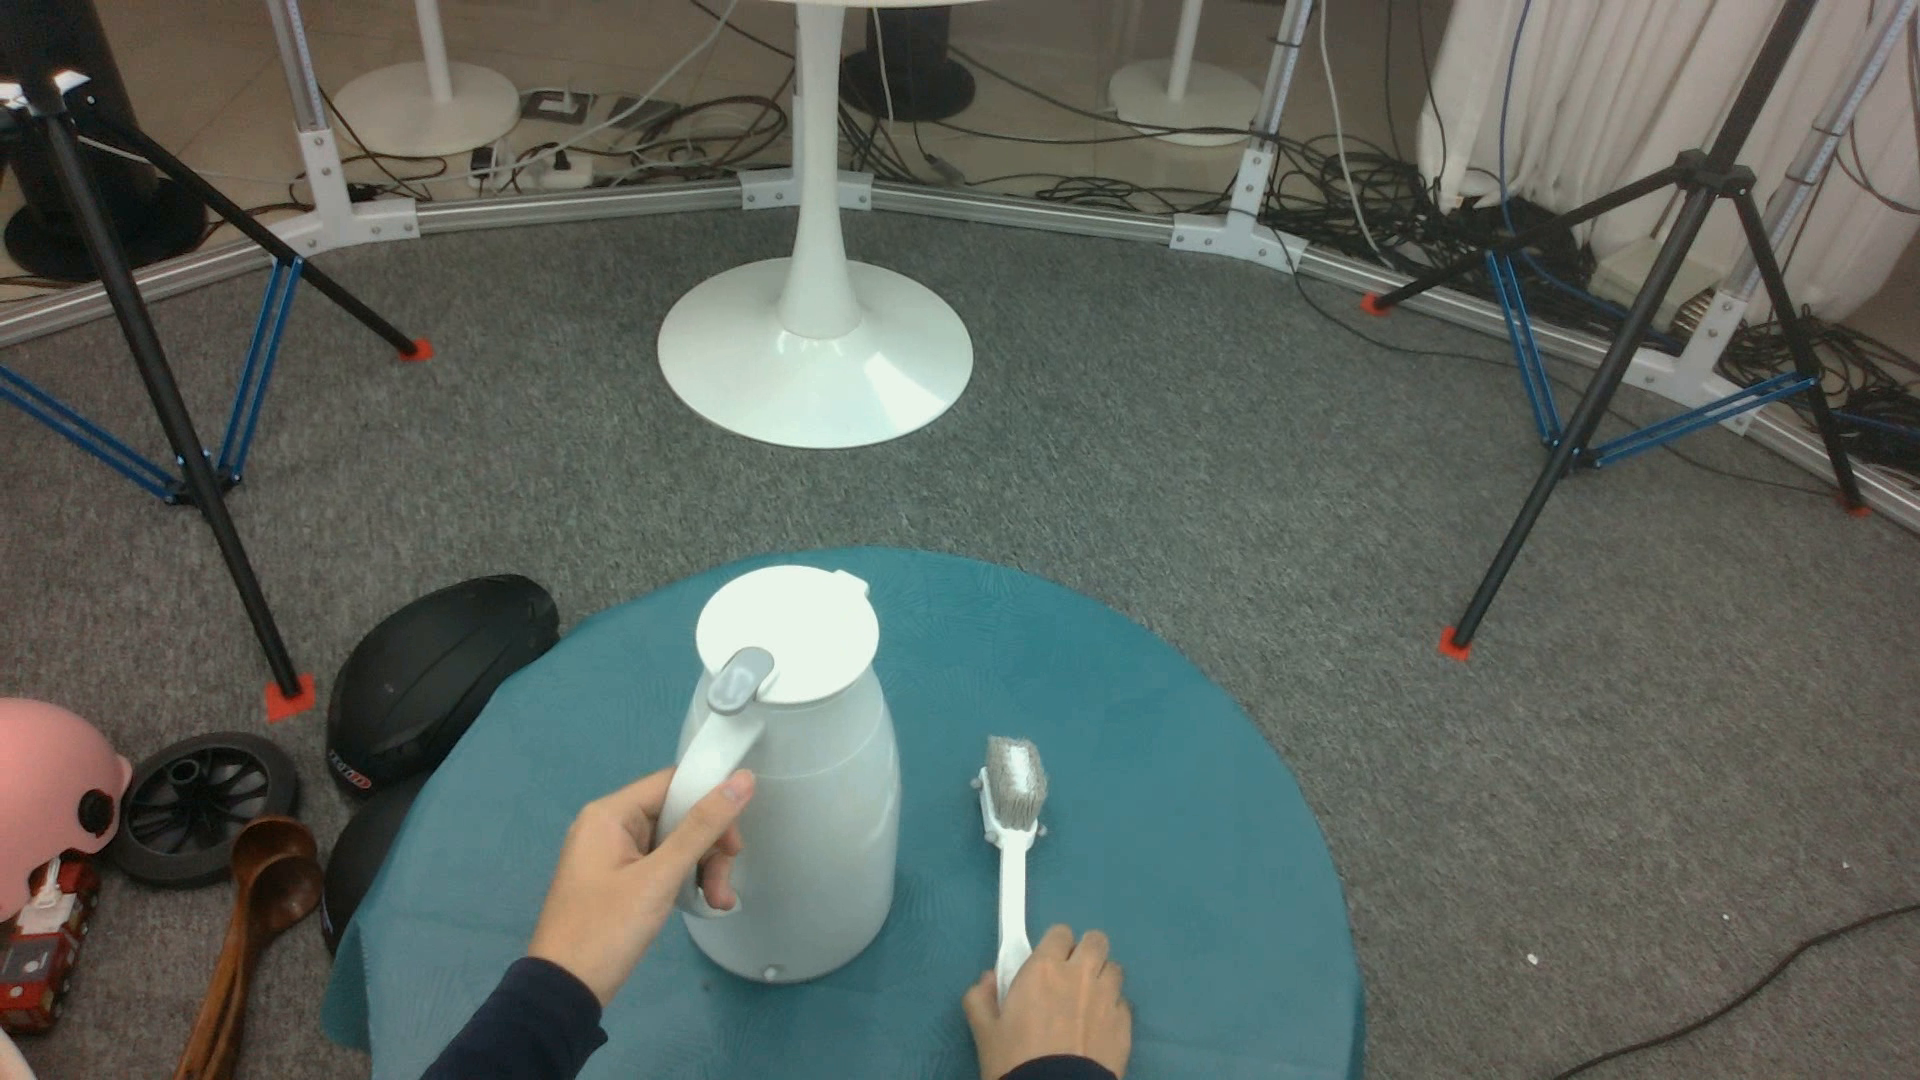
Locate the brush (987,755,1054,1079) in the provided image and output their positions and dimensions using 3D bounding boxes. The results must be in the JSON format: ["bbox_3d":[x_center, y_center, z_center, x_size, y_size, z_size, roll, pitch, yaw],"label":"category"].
[{"bbox_3d":[0.038,0.234,0.842,0.034,0.050,0.245,14,42,-11],"label":"brush"}]

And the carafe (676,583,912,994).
[{"bbox_3d":[-0.098,0.150,0.771,0.132,0.247,0.168,23,46,16],"label":"carafe"}]
